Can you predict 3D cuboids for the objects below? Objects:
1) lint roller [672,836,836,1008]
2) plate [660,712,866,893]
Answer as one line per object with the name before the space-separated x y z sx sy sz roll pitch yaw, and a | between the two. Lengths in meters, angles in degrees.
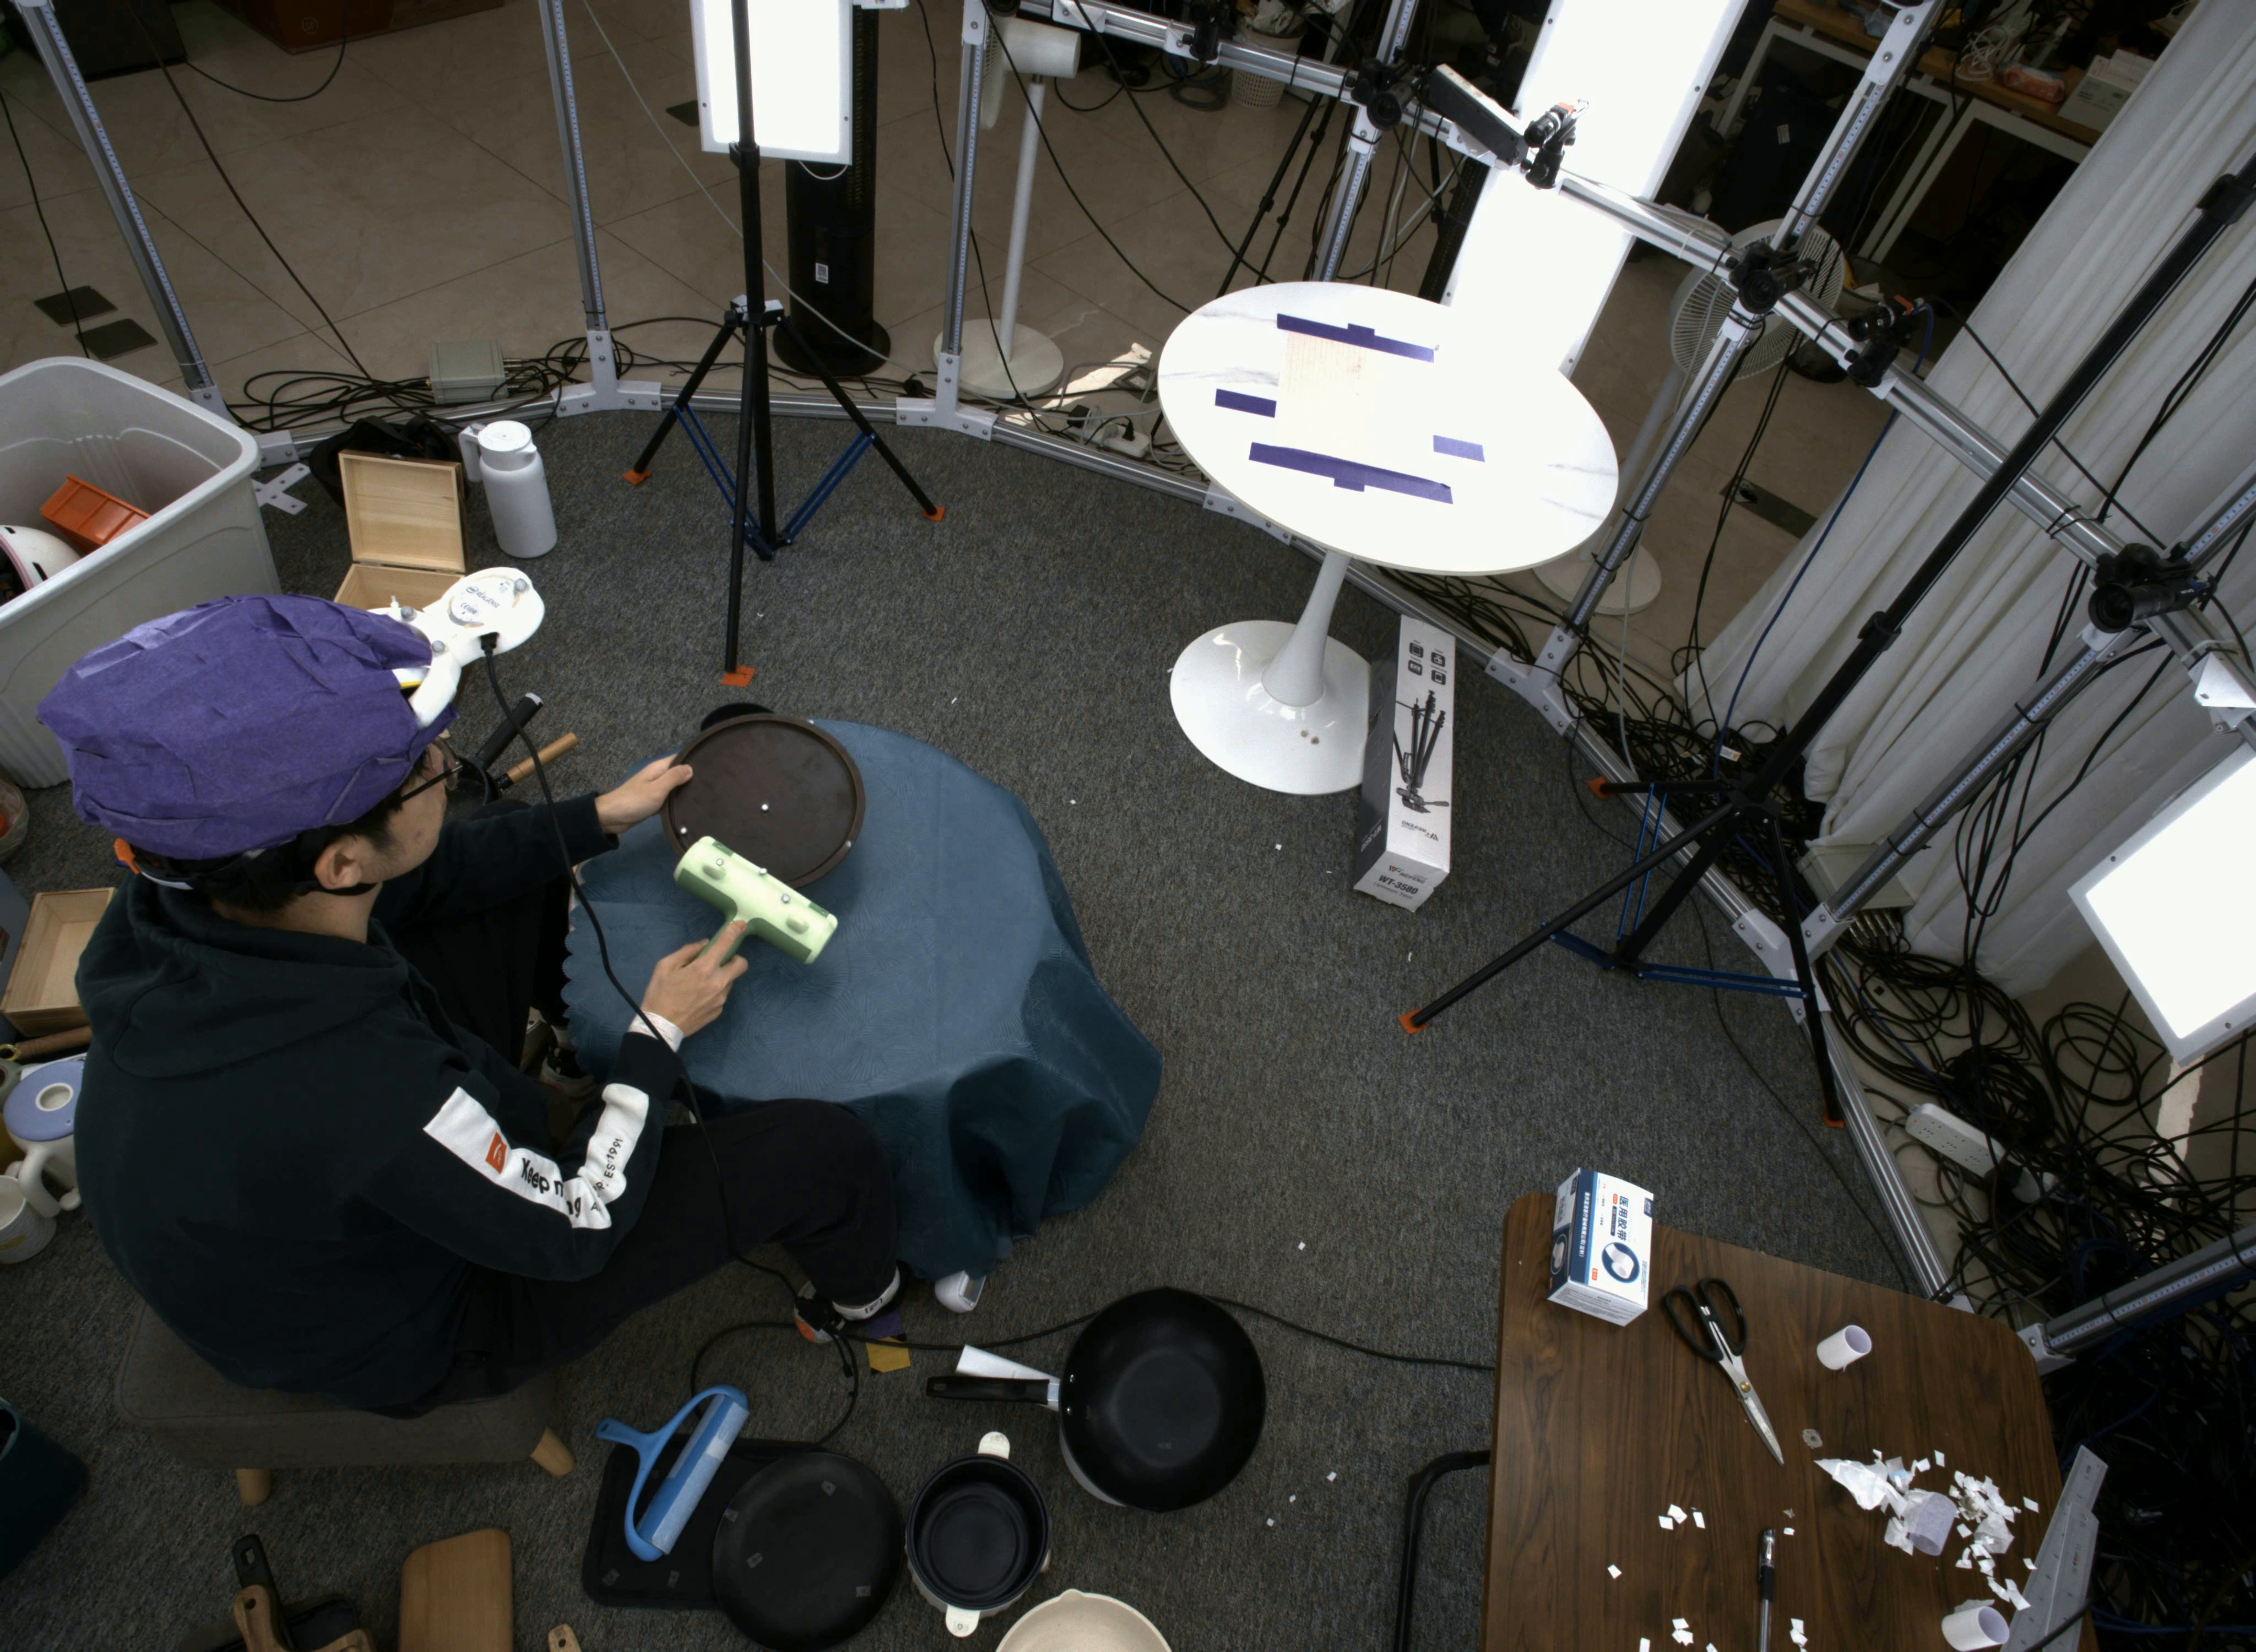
lint roller | -0.467 0.125 1.510 0.200 0.082 0.182 34 53 -8
plate | -0.459 -0.029 1.631 0.255 0.029 0.252 7 67 -13
